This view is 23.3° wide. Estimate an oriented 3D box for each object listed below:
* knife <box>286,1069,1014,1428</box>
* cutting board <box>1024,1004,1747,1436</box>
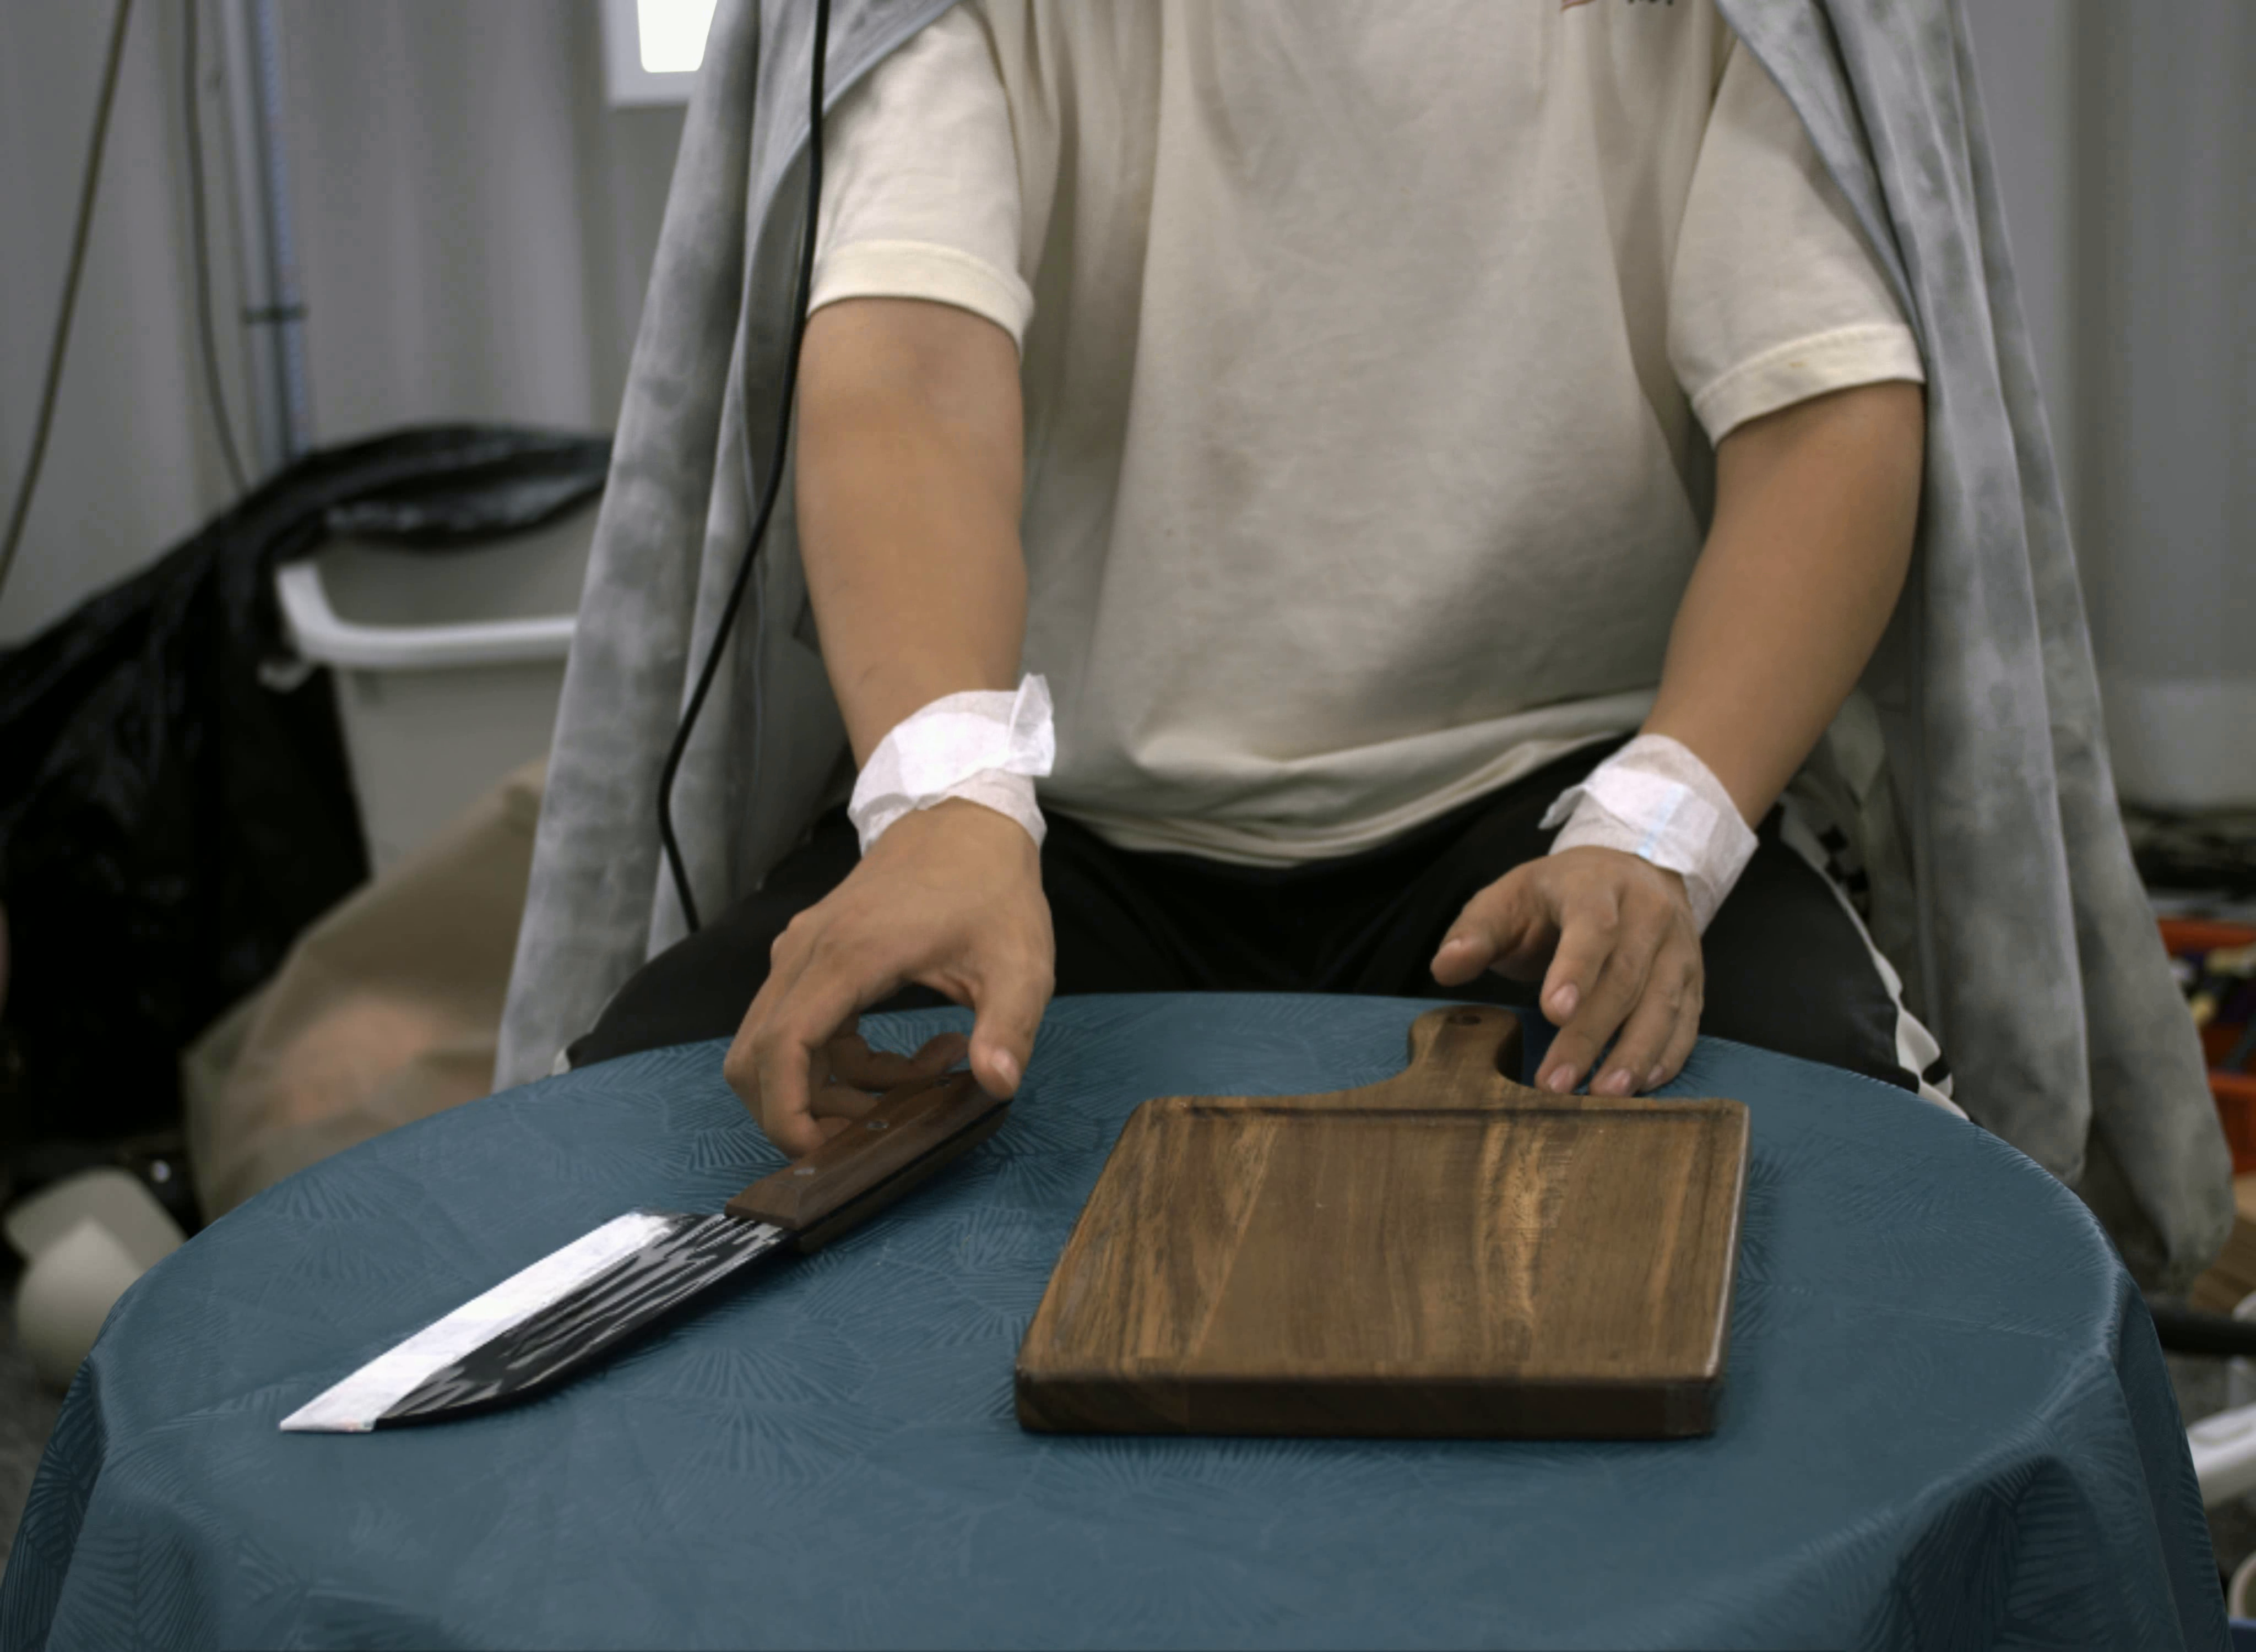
[{"bbox_3d":[-0.139,0.129,1.656,0.068,0.024,0.300,4,19,34],"label":"knife"},{"bbox_3d":[0.089,0.114,1.665,0.200,0.023,0.354,0,15,8],"label":"cutting board"}]
